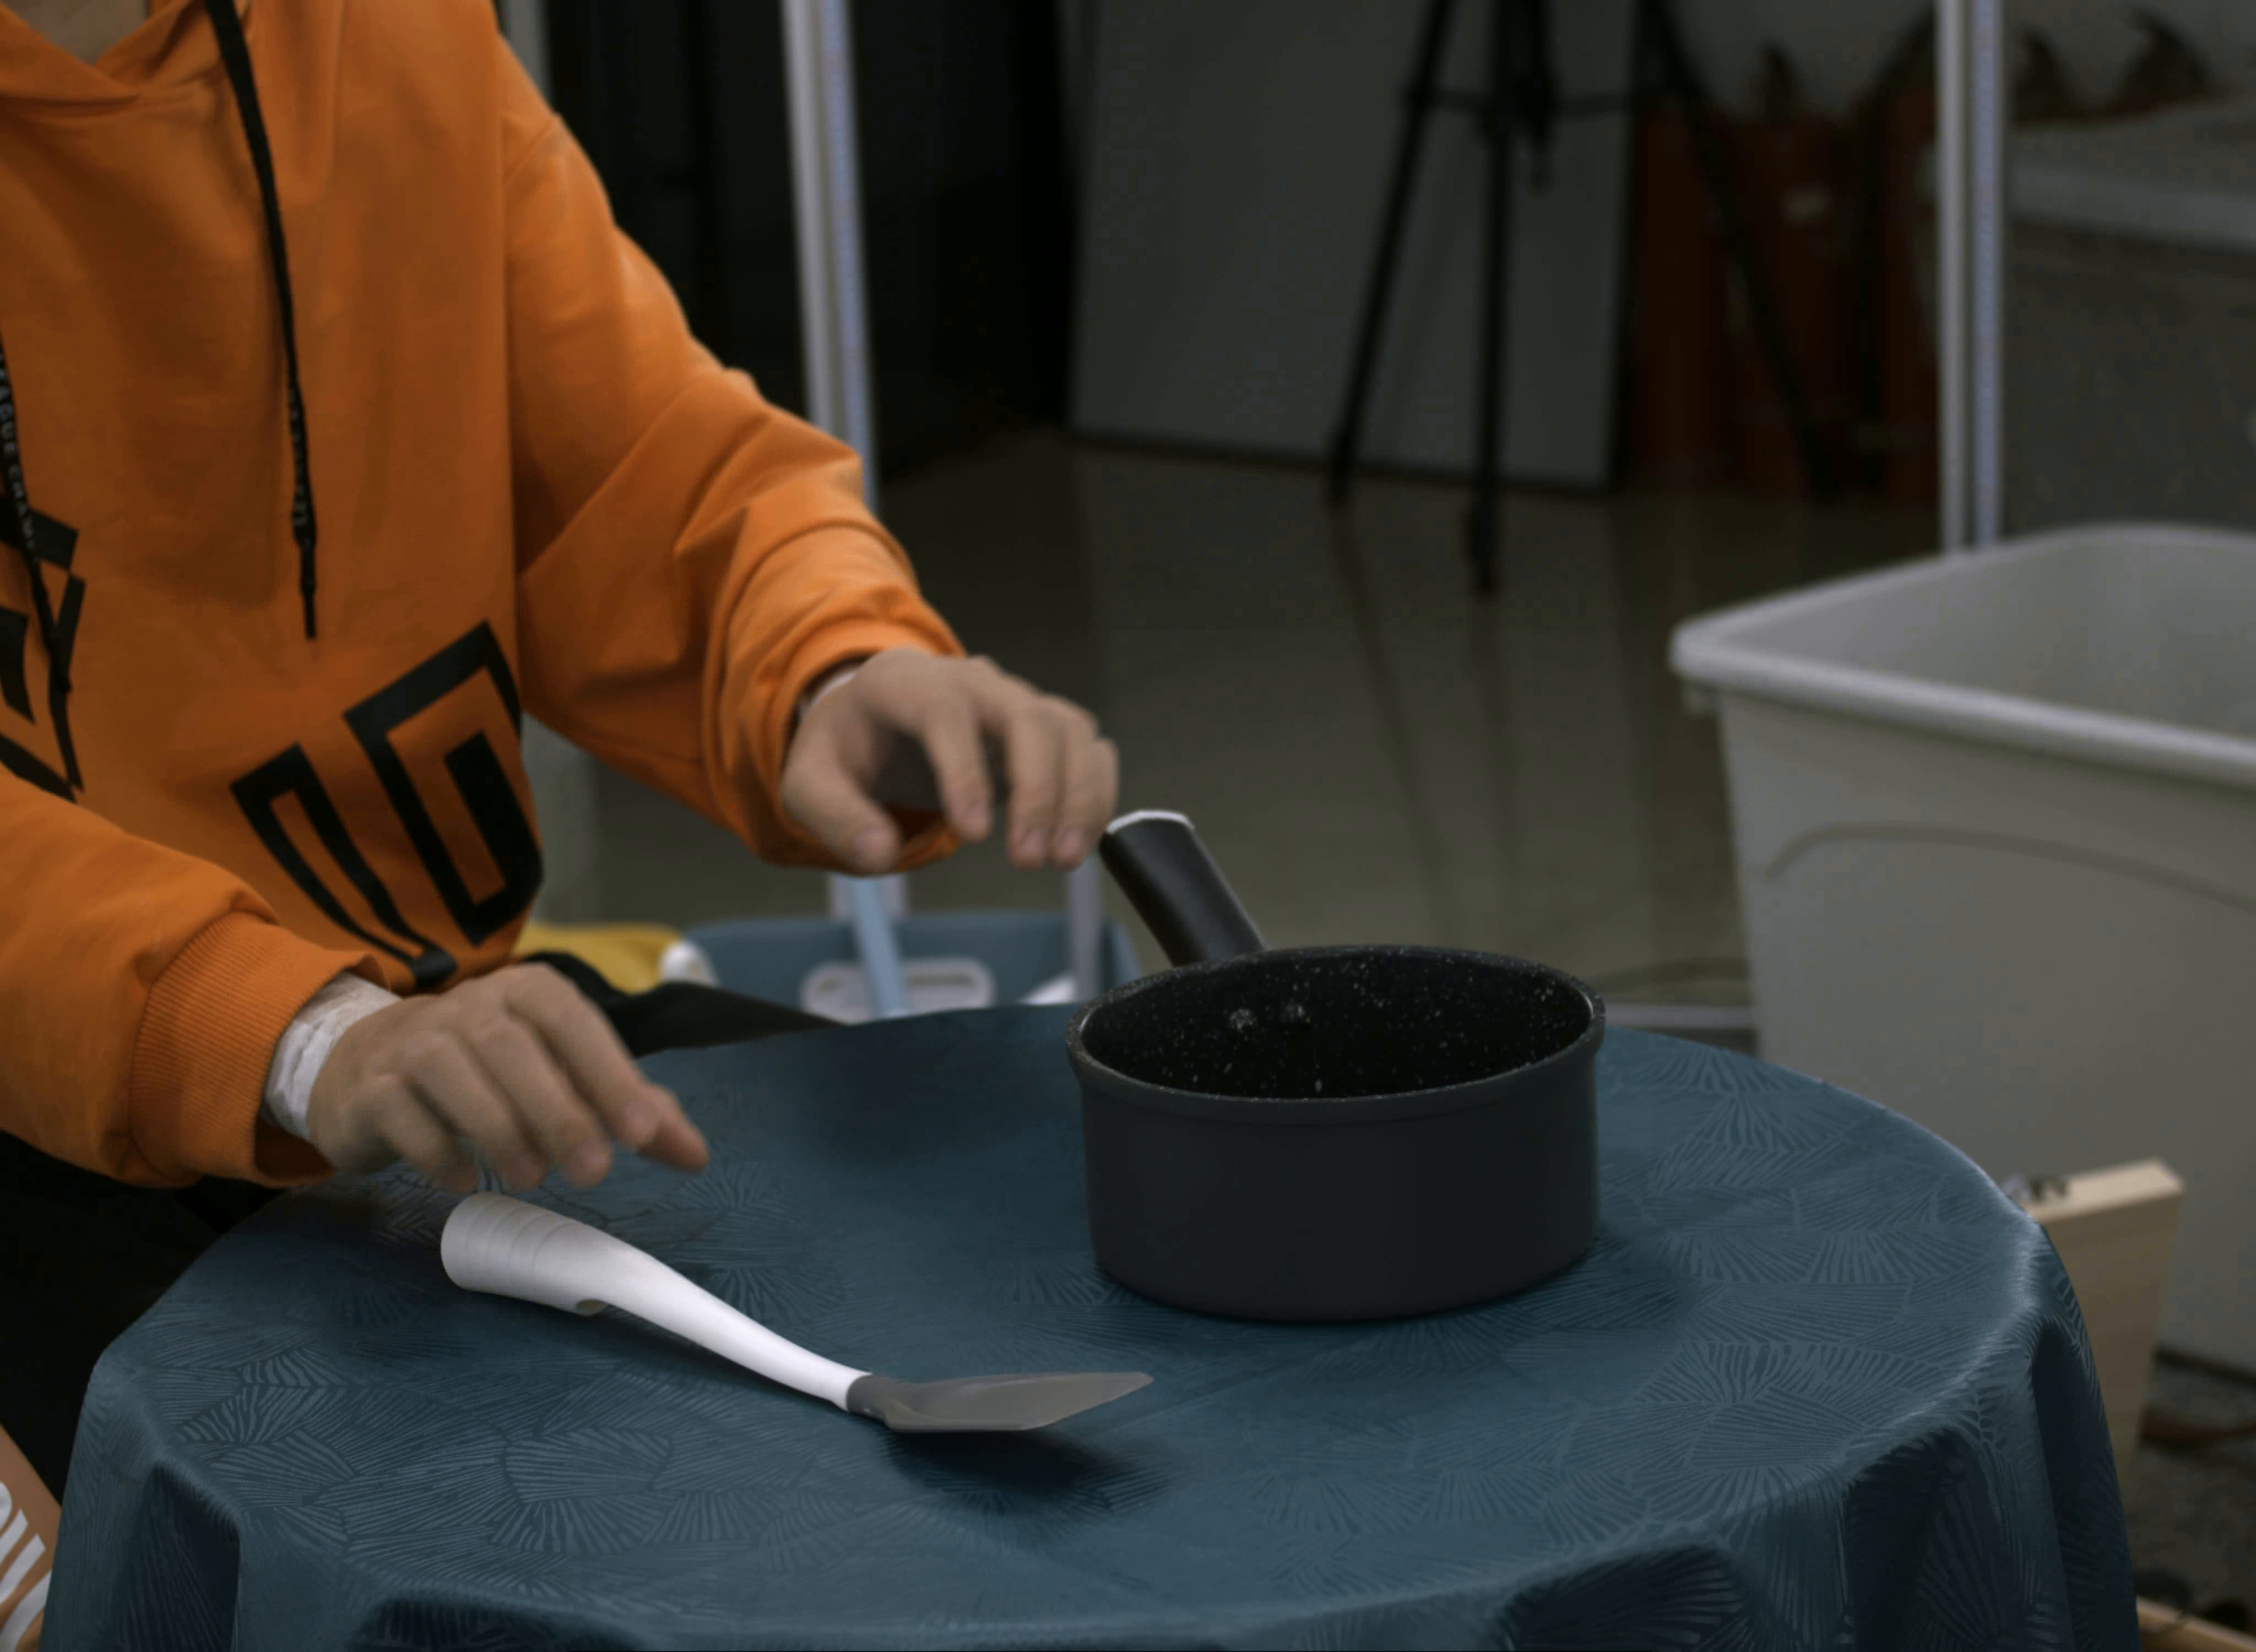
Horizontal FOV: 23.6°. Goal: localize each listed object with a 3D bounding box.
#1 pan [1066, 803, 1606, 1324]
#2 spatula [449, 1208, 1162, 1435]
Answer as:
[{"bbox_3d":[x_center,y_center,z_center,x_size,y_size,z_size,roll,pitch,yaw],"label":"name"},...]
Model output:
[{"bbox_3d":[0.050,0.074,1.769,0.169,0.087,0.331,-6,15,-10],"label":"pan"},{"bbox_3d":[-0.103,0.153,1.608,0.057,0.032,0.290,-10,14,-42],"label":"spatula"}]
